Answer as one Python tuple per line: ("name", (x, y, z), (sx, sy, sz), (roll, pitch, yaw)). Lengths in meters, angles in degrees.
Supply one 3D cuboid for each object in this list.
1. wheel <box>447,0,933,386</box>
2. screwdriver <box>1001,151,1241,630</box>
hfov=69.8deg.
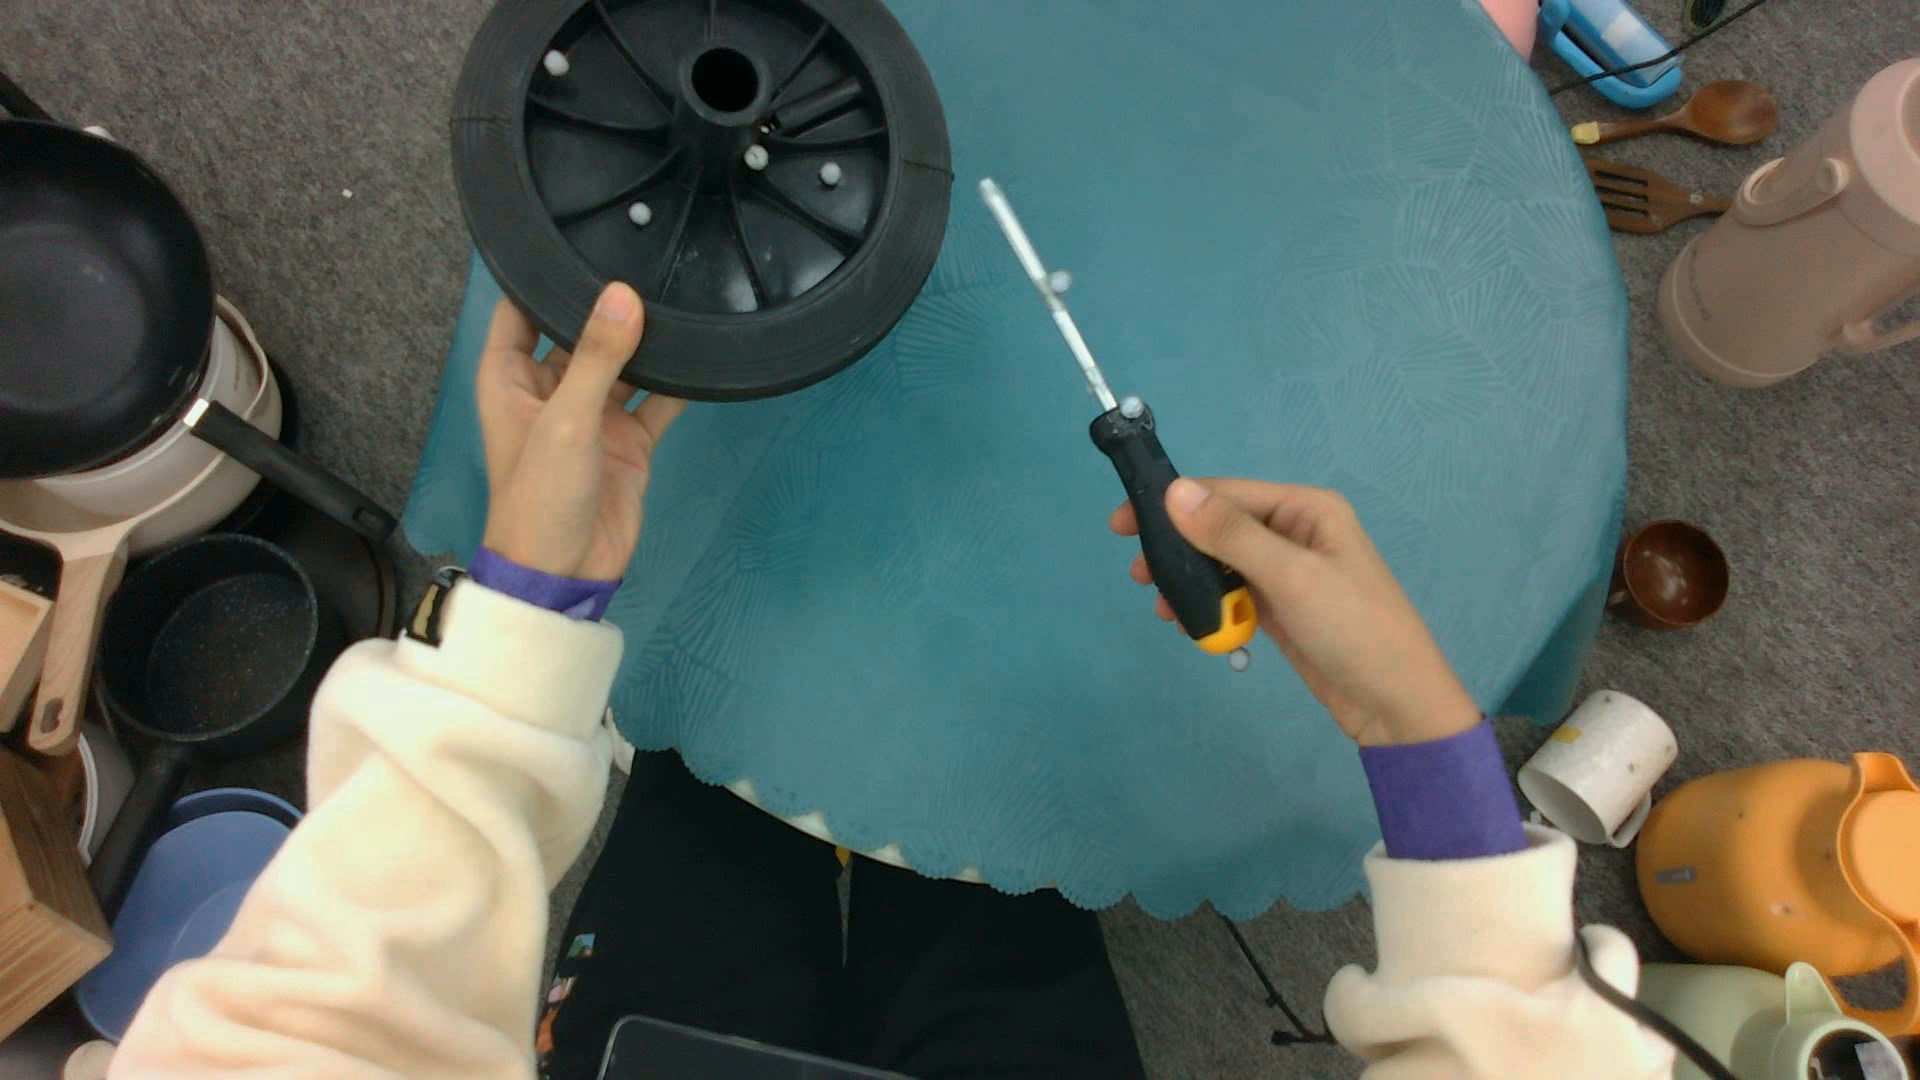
("wheel", (-0.096, -0.157, 0.522), (0.187, 0.079, 0.190), (37, 71, -6))
("screwdriver", (0.058, -0.059, 0.510), (0.031, 0.031, 0.196), (-21, 87, -9))
